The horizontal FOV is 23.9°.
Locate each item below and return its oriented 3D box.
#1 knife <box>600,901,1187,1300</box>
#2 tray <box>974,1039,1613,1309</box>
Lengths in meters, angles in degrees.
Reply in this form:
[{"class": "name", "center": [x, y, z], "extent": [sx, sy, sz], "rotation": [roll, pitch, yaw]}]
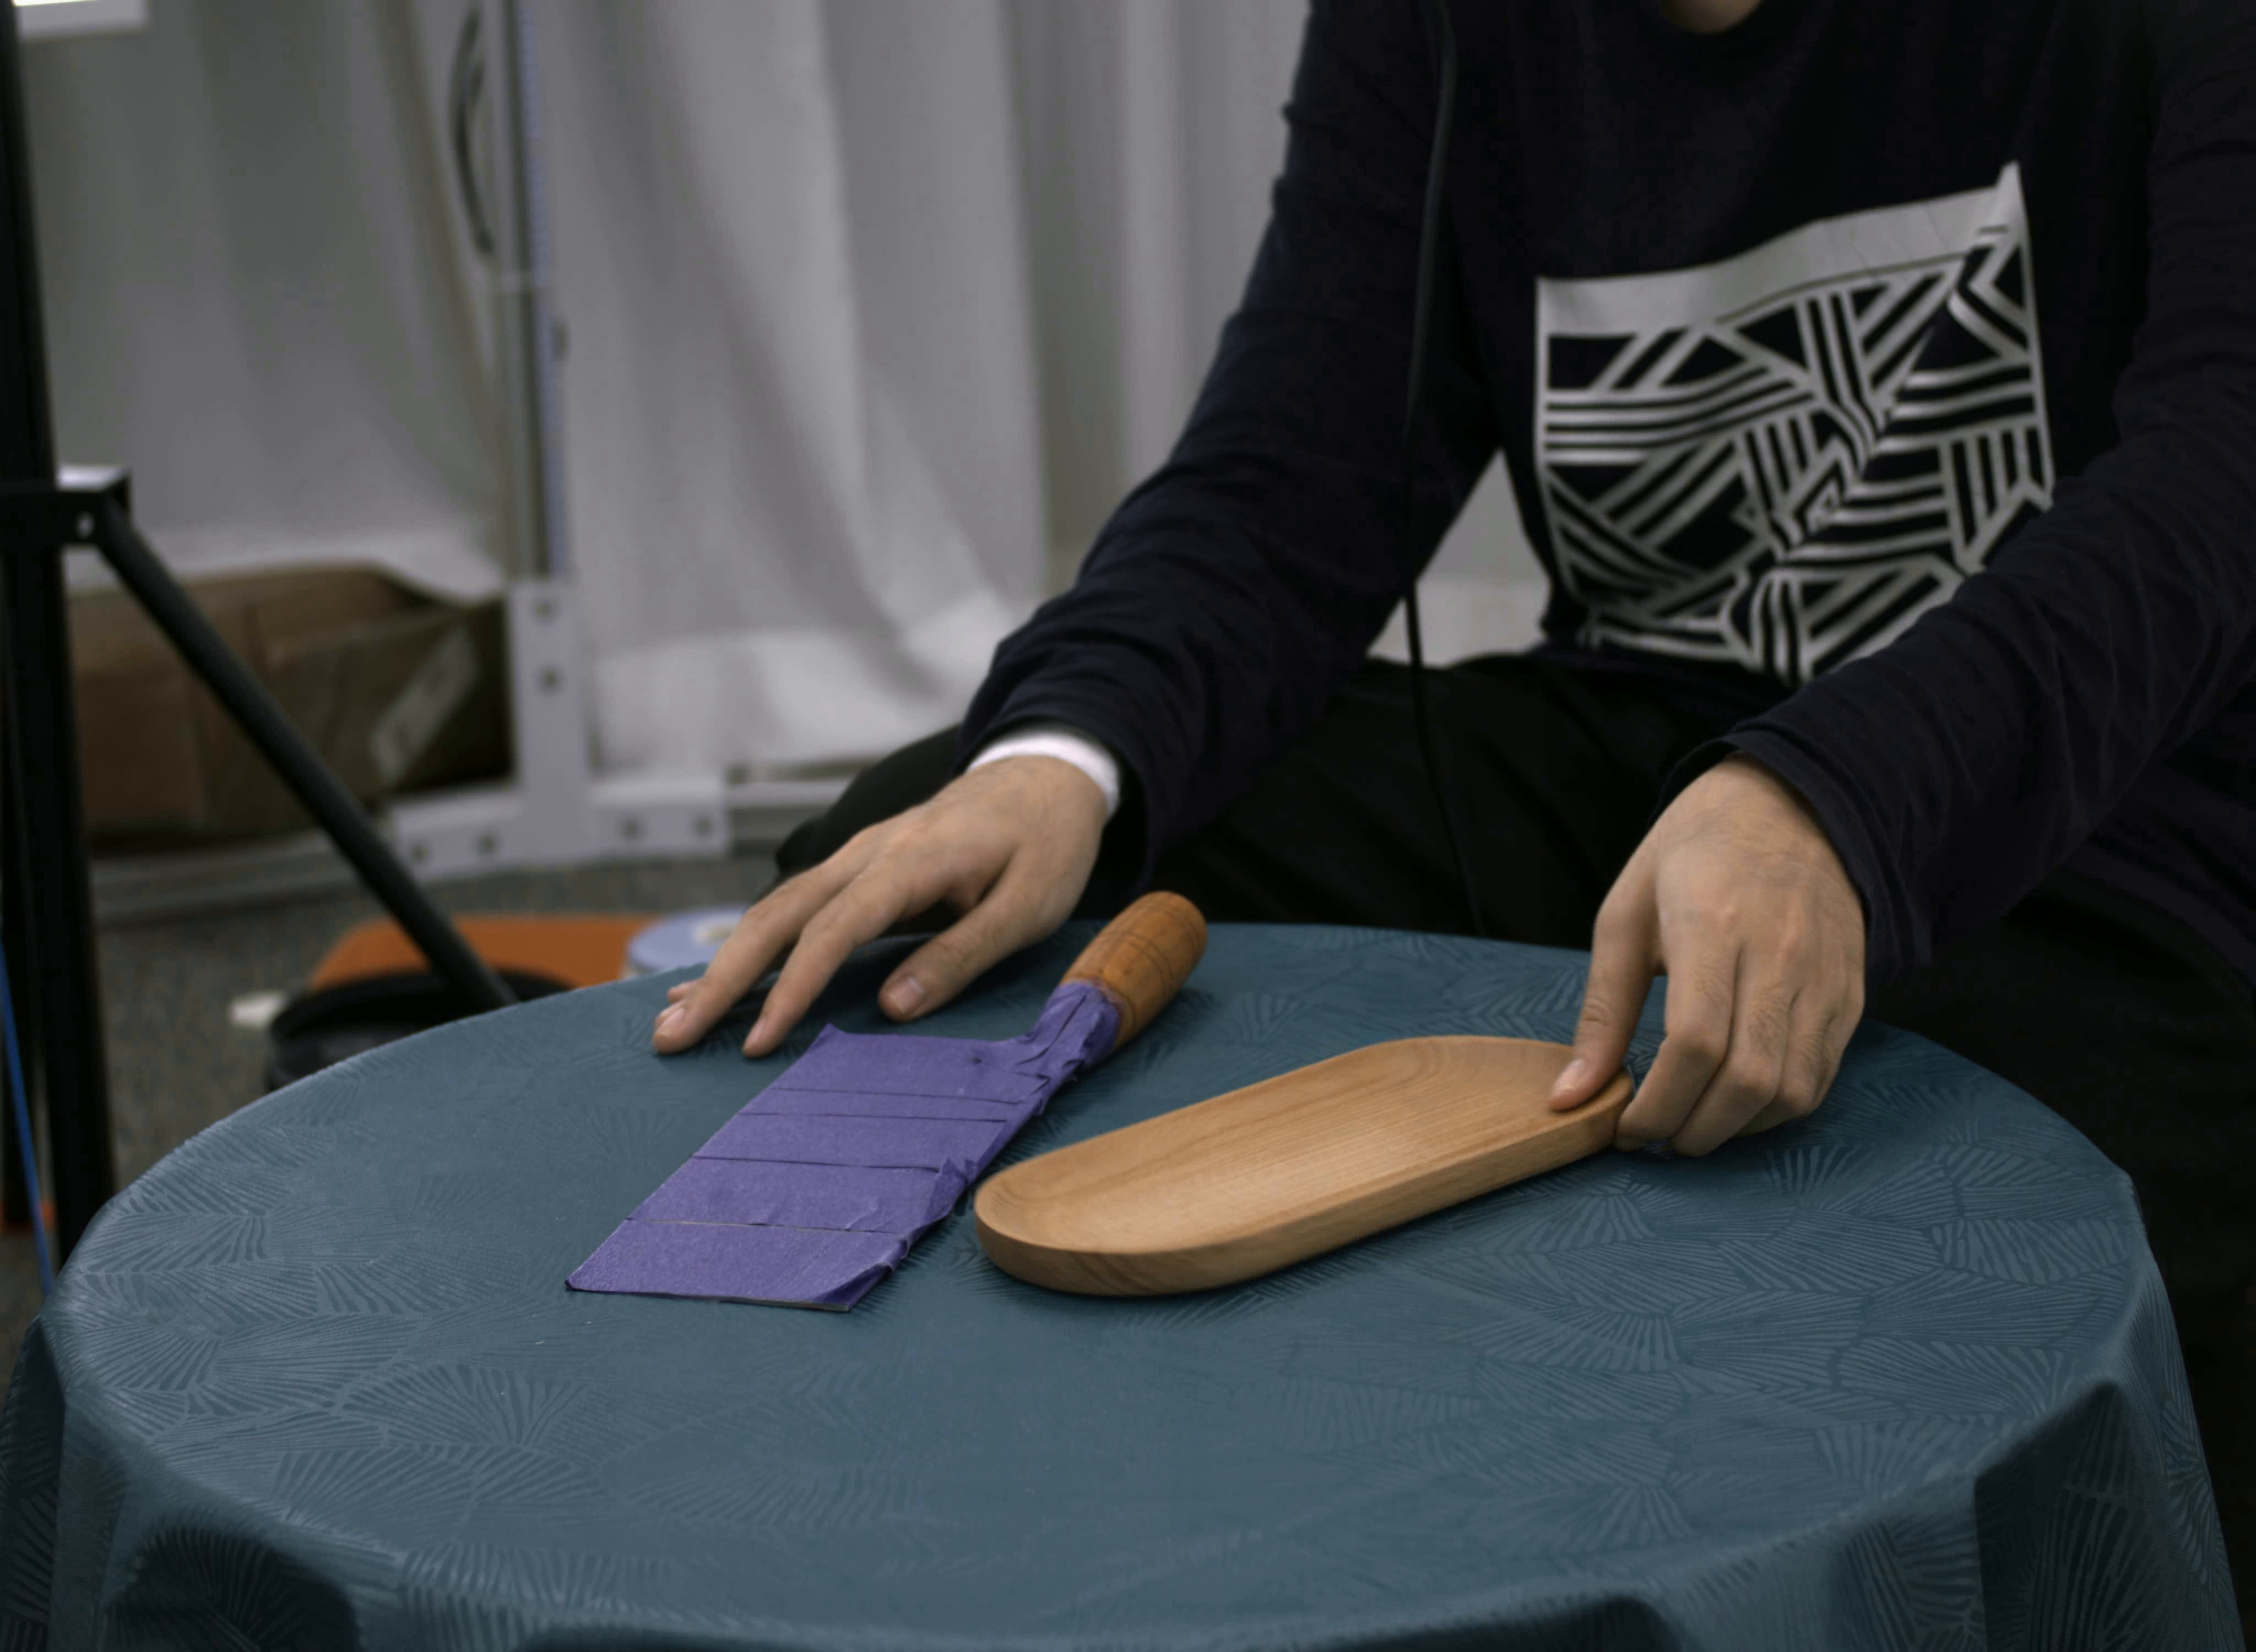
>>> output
[{"class": "knife", "center": [-0.068, 0.080, 1.623], "extent": [0.105, 0.032, 0.312], "rotation": [3, 17, 18]}, {"class": "tray", "center": [0.052, 0.100, 1.551], "extent": [0.104, 0.020, 0.226], "rotation": [10, 21, 43]}]
